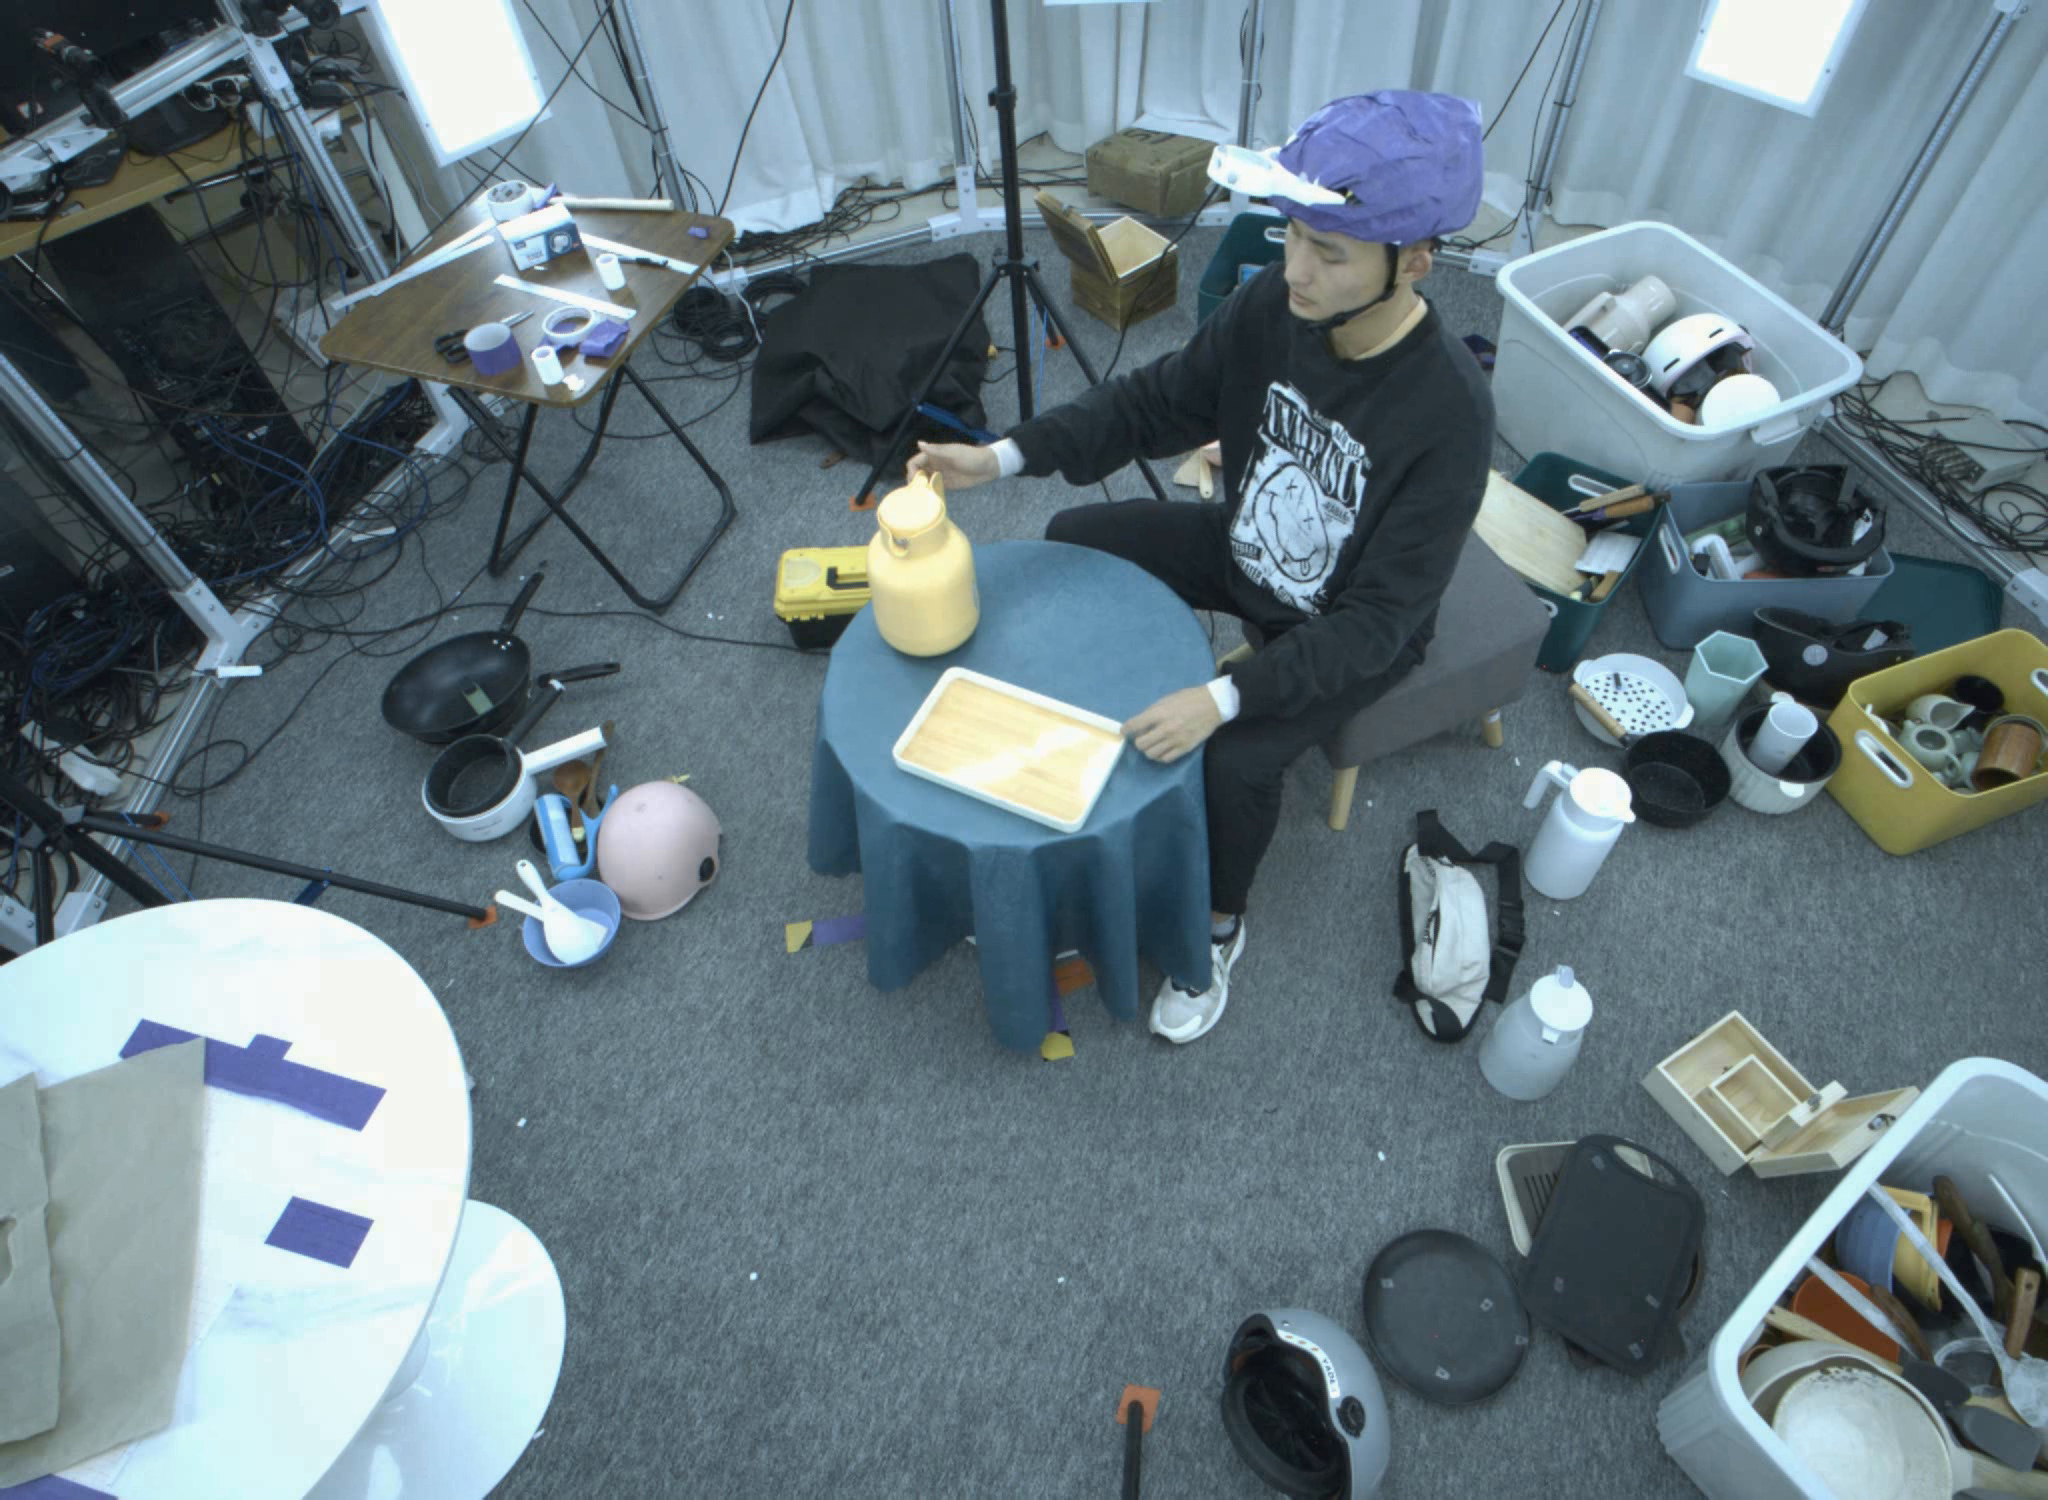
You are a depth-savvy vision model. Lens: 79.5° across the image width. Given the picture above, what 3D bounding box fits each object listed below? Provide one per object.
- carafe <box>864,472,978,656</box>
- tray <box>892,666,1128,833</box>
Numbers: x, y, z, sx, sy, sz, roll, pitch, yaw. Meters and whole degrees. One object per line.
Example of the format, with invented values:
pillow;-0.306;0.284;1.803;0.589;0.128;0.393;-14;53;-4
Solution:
carafe;-0.151;-0.286;1.833;0.162;0.263;0.201;10;56;8
tray;-0.019;-0.005;1.771;0.297;0.028;0.192;21;58;16
